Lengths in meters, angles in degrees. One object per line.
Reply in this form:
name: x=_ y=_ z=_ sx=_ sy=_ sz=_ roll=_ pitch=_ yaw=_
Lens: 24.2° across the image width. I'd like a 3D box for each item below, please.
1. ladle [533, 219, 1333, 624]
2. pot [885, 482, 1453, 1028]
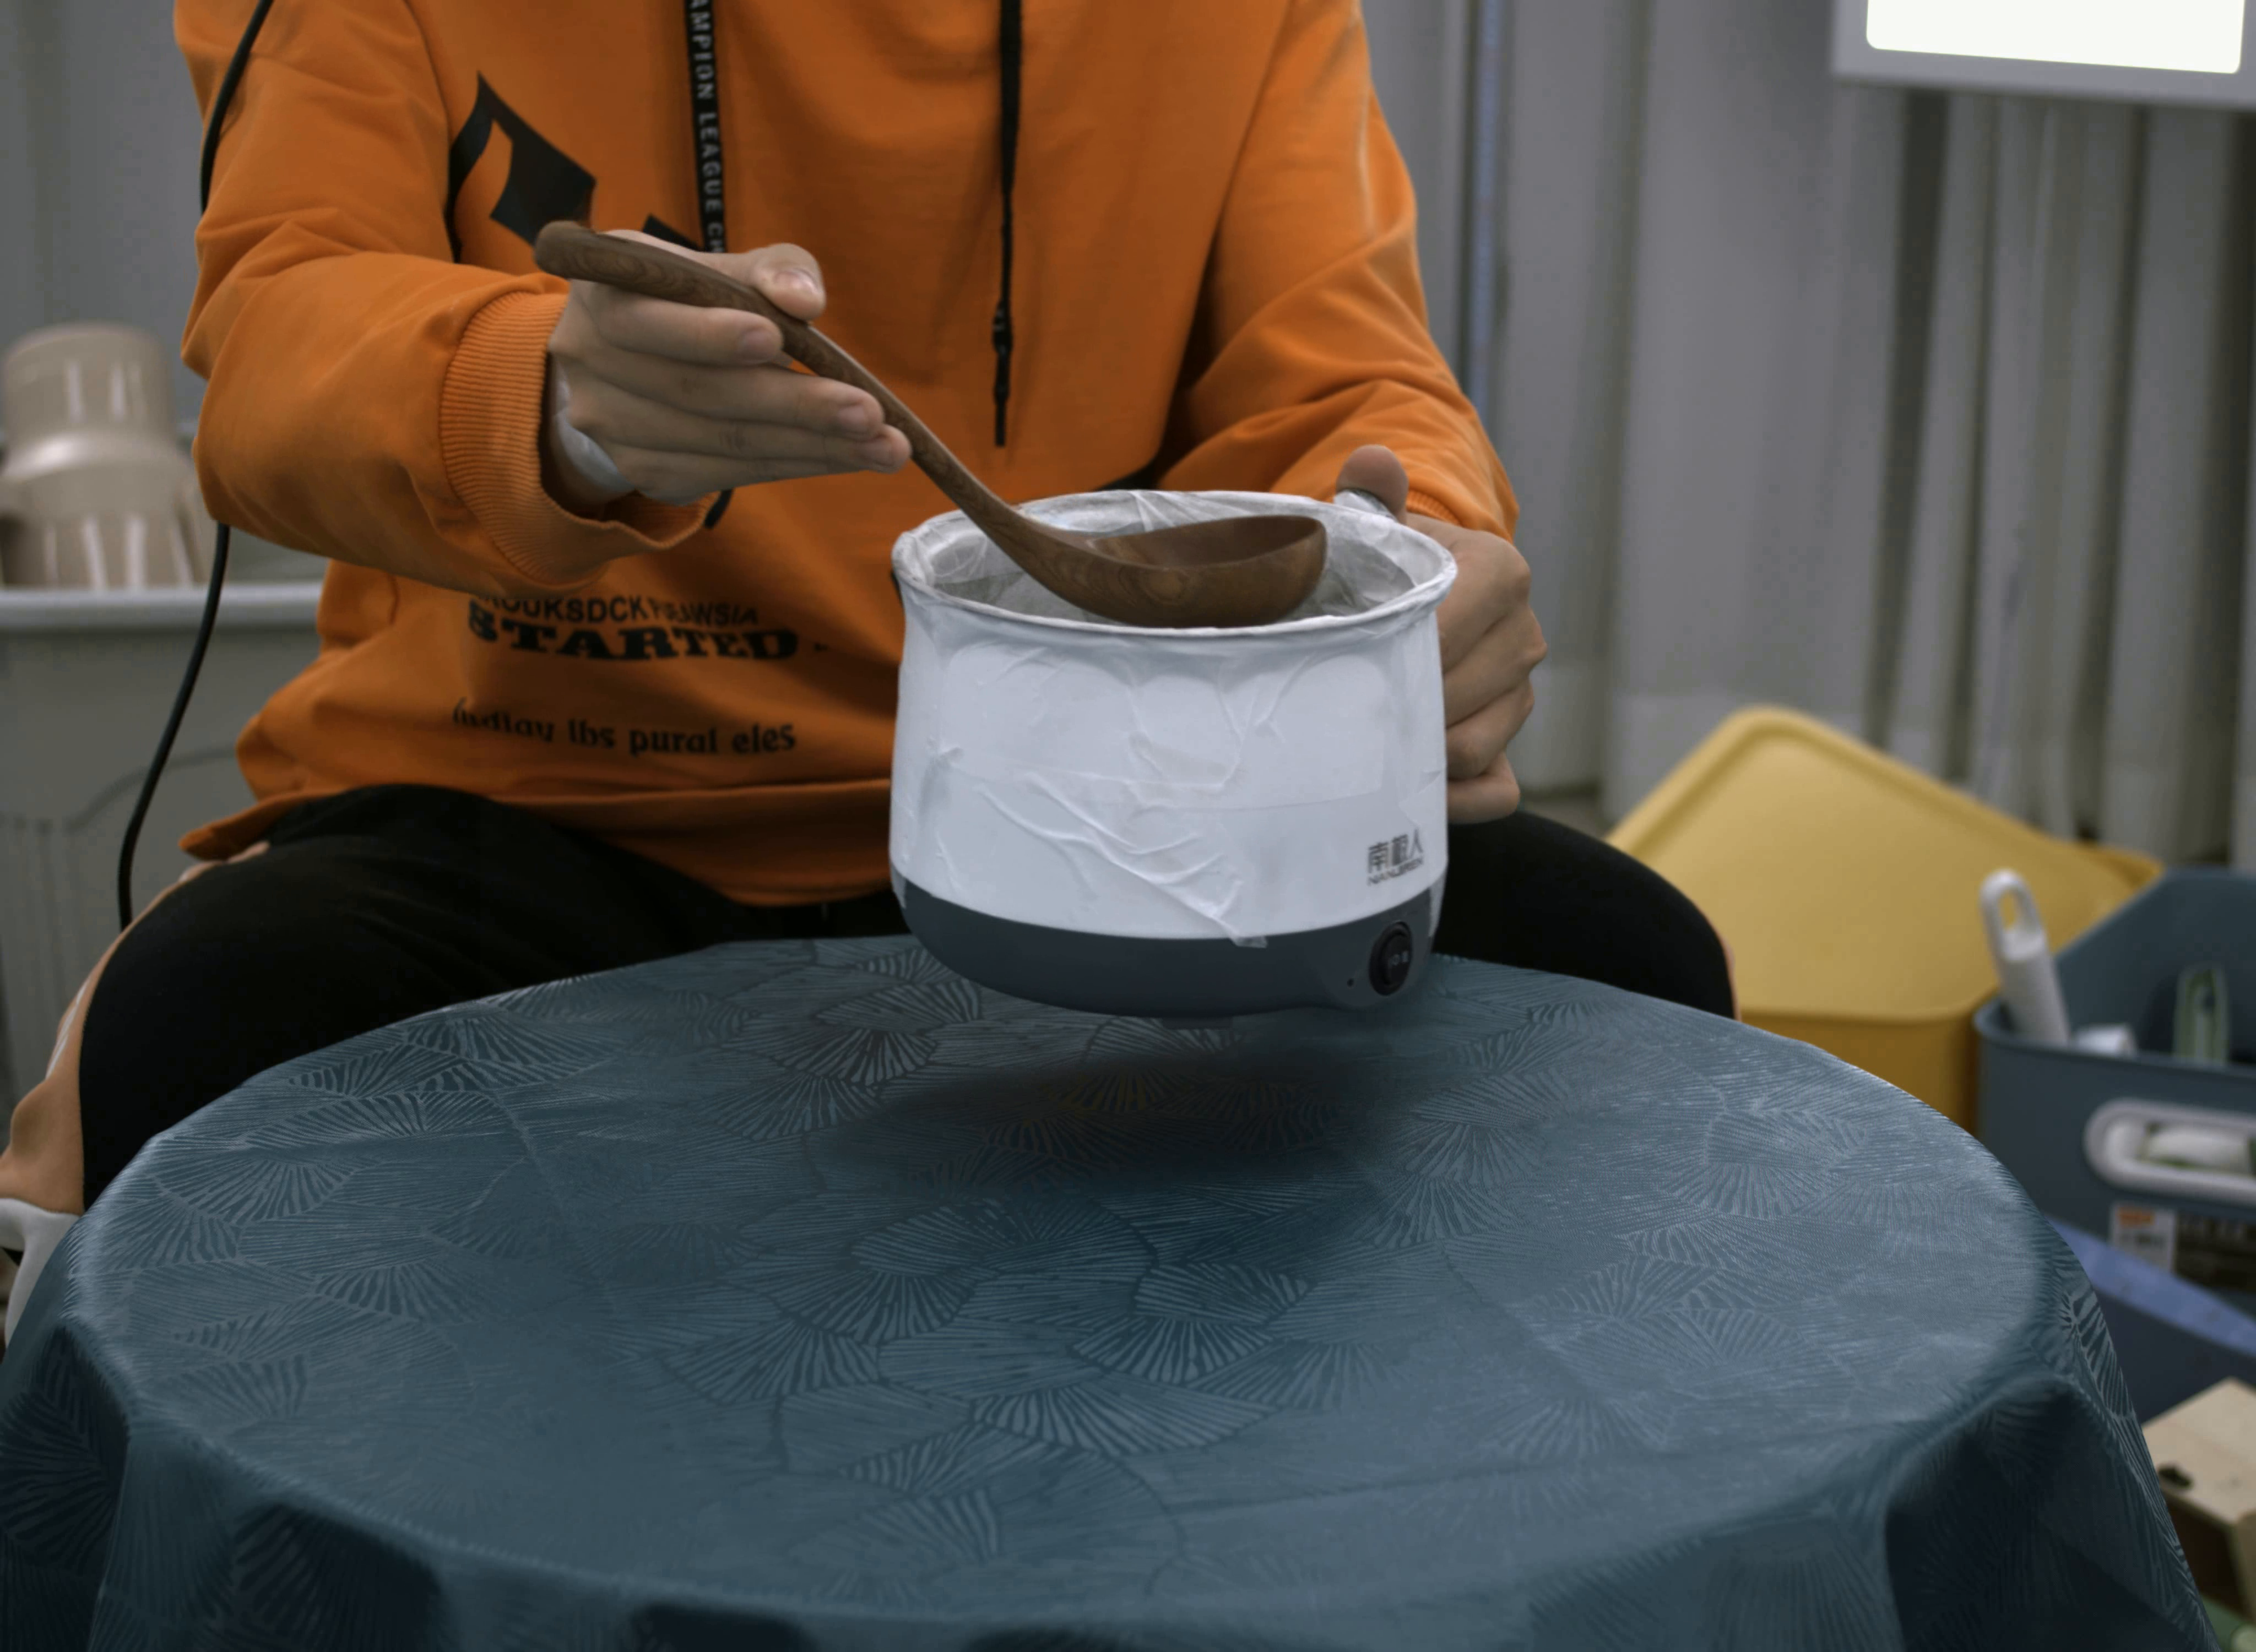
ladle: x=-0.055 y=-0.130 z=1.586 sx=0.261 sy=0.065 sz=0.076 roll=33 pitch=0 yaw=-14
pot: x=0.028 y=-0.031 z=1.678 sx=0.176 sy=0.138 sz=0.234 roll=14 pitch=22 yaw=32
